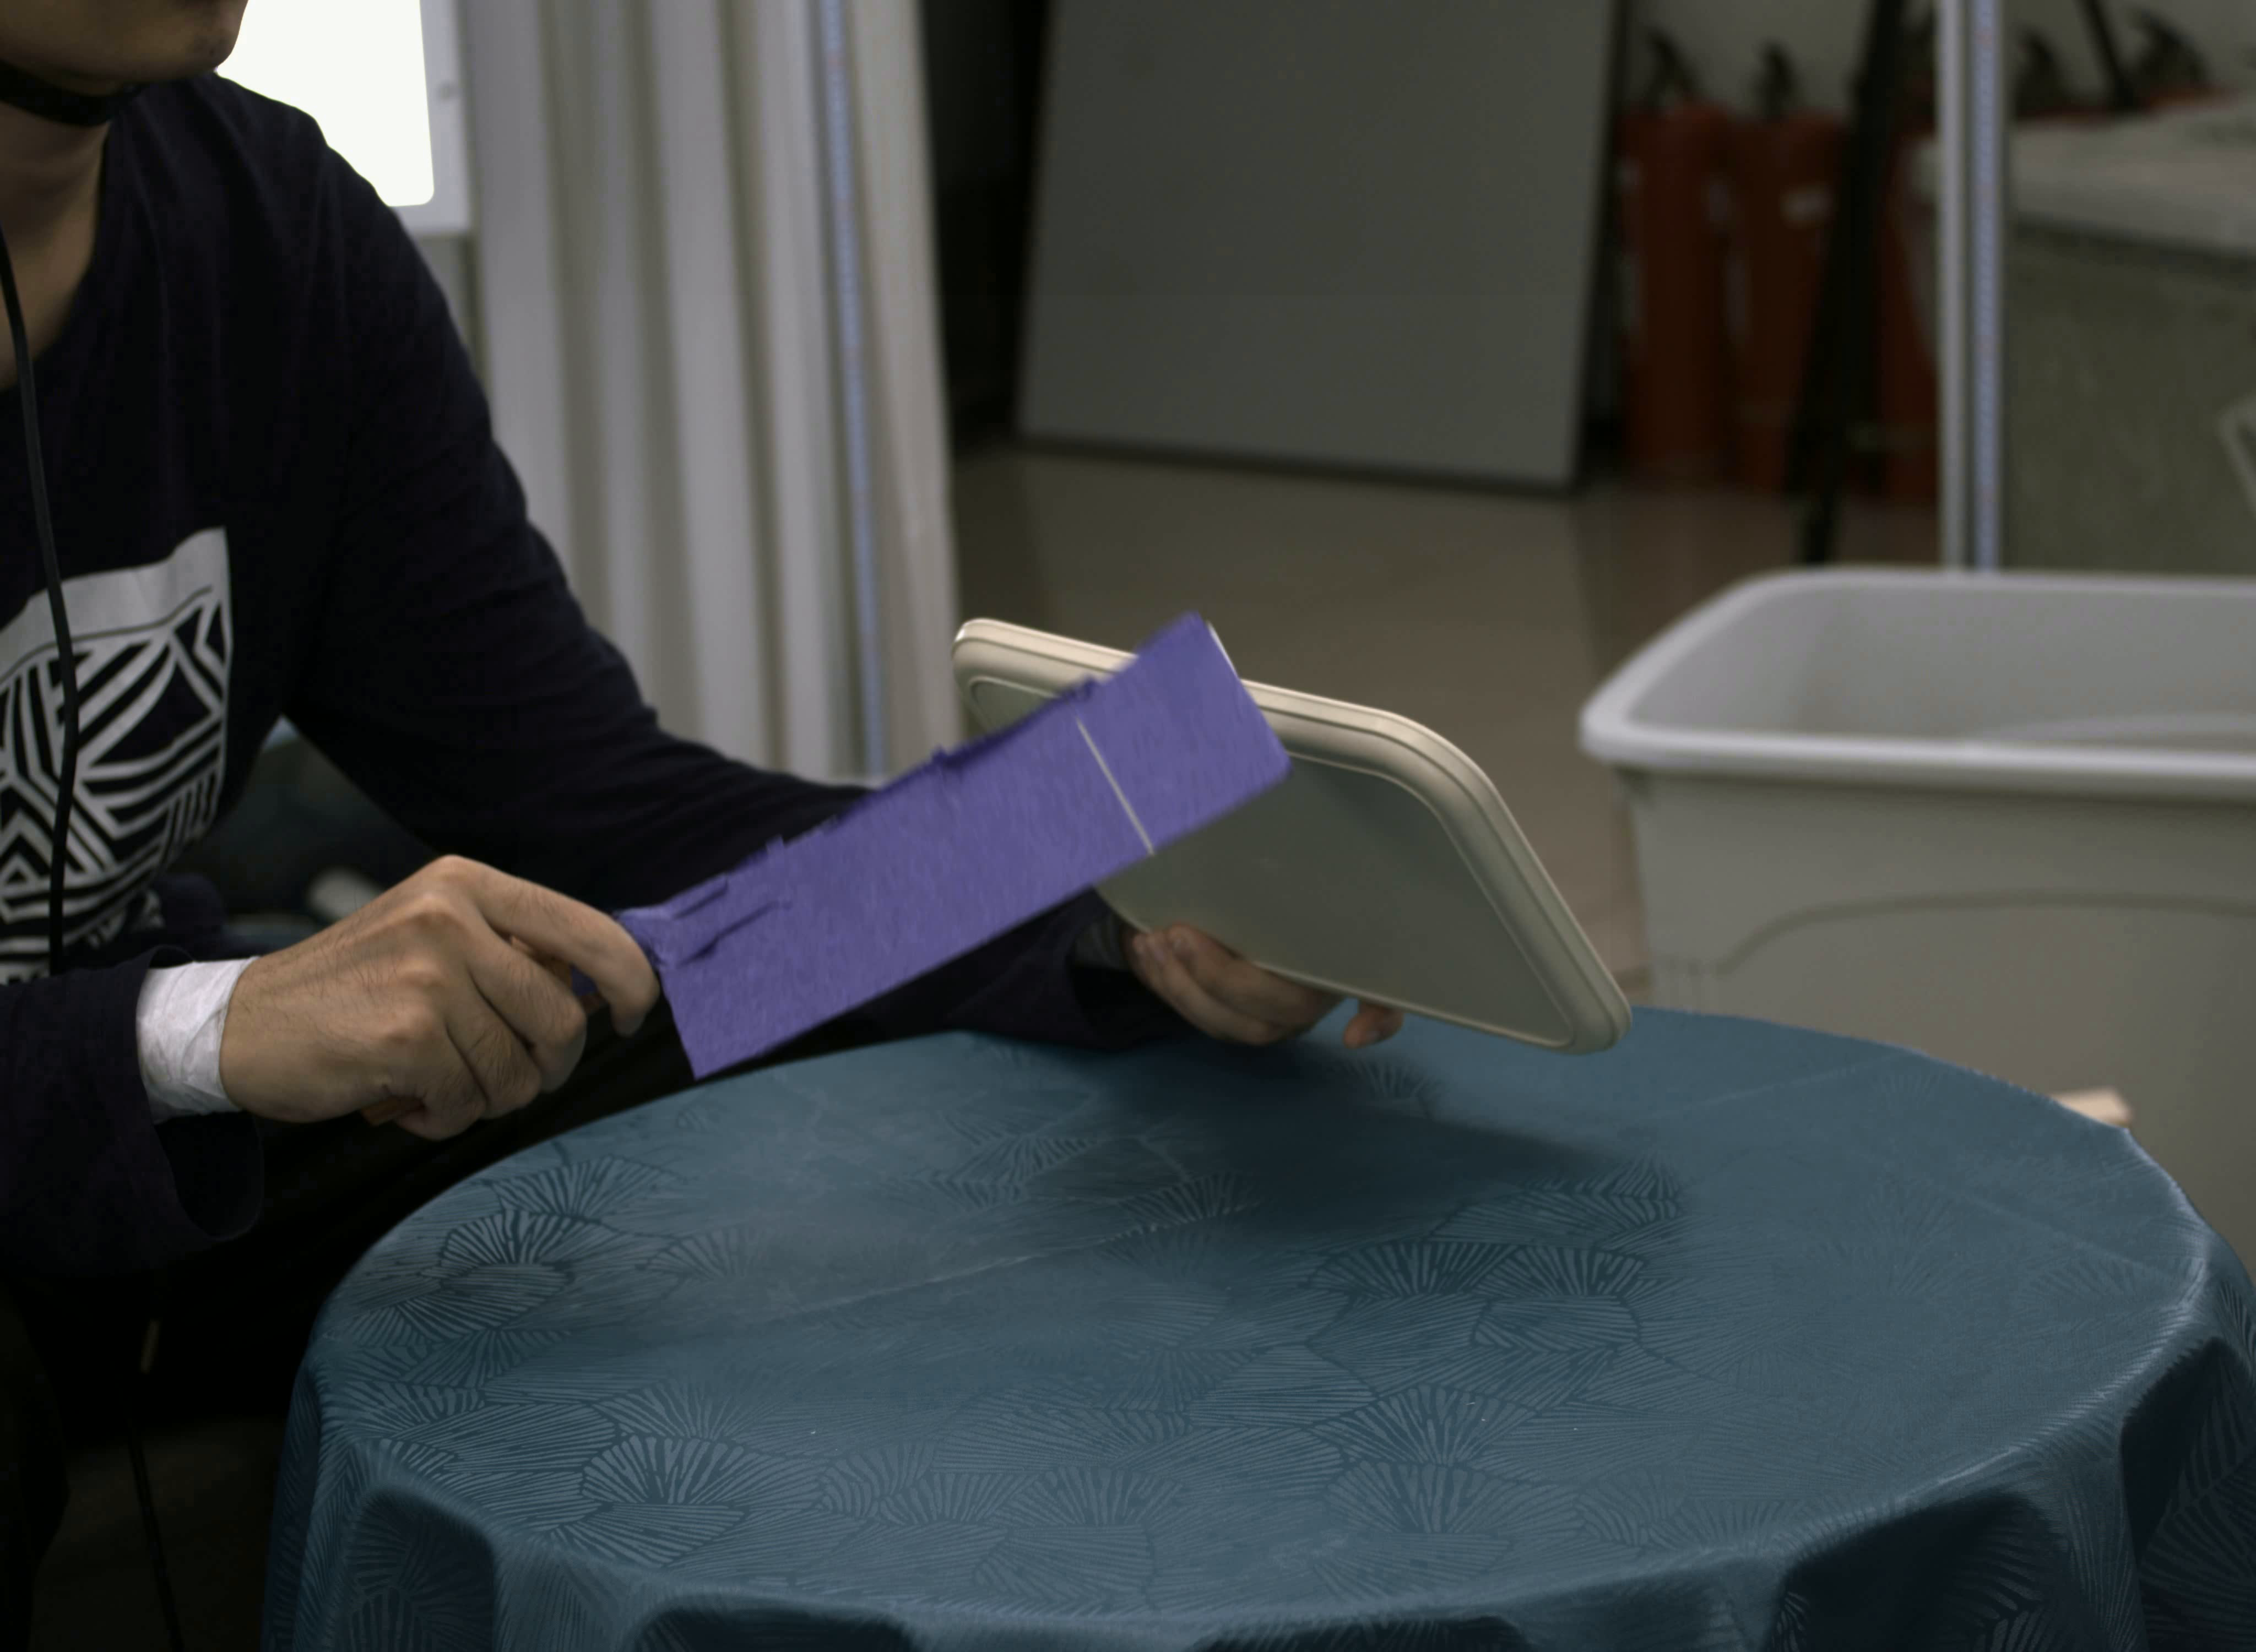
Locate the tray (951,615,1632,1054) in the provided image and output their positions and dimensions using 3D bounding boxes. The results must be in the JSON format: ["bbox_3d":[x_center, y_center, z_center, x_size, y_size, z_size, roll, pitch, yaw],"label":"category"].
[{"bbox_3d":[0.050,0.005,1.797,0.242,0.170,0.017,13,58,44],"label":"tray"}]

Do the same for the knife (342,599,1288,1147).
[{"bbox_3d":[-0.098,0.028,1.669,0.313,0.032,0.105,-30,35,3],"label":"knife"}]
